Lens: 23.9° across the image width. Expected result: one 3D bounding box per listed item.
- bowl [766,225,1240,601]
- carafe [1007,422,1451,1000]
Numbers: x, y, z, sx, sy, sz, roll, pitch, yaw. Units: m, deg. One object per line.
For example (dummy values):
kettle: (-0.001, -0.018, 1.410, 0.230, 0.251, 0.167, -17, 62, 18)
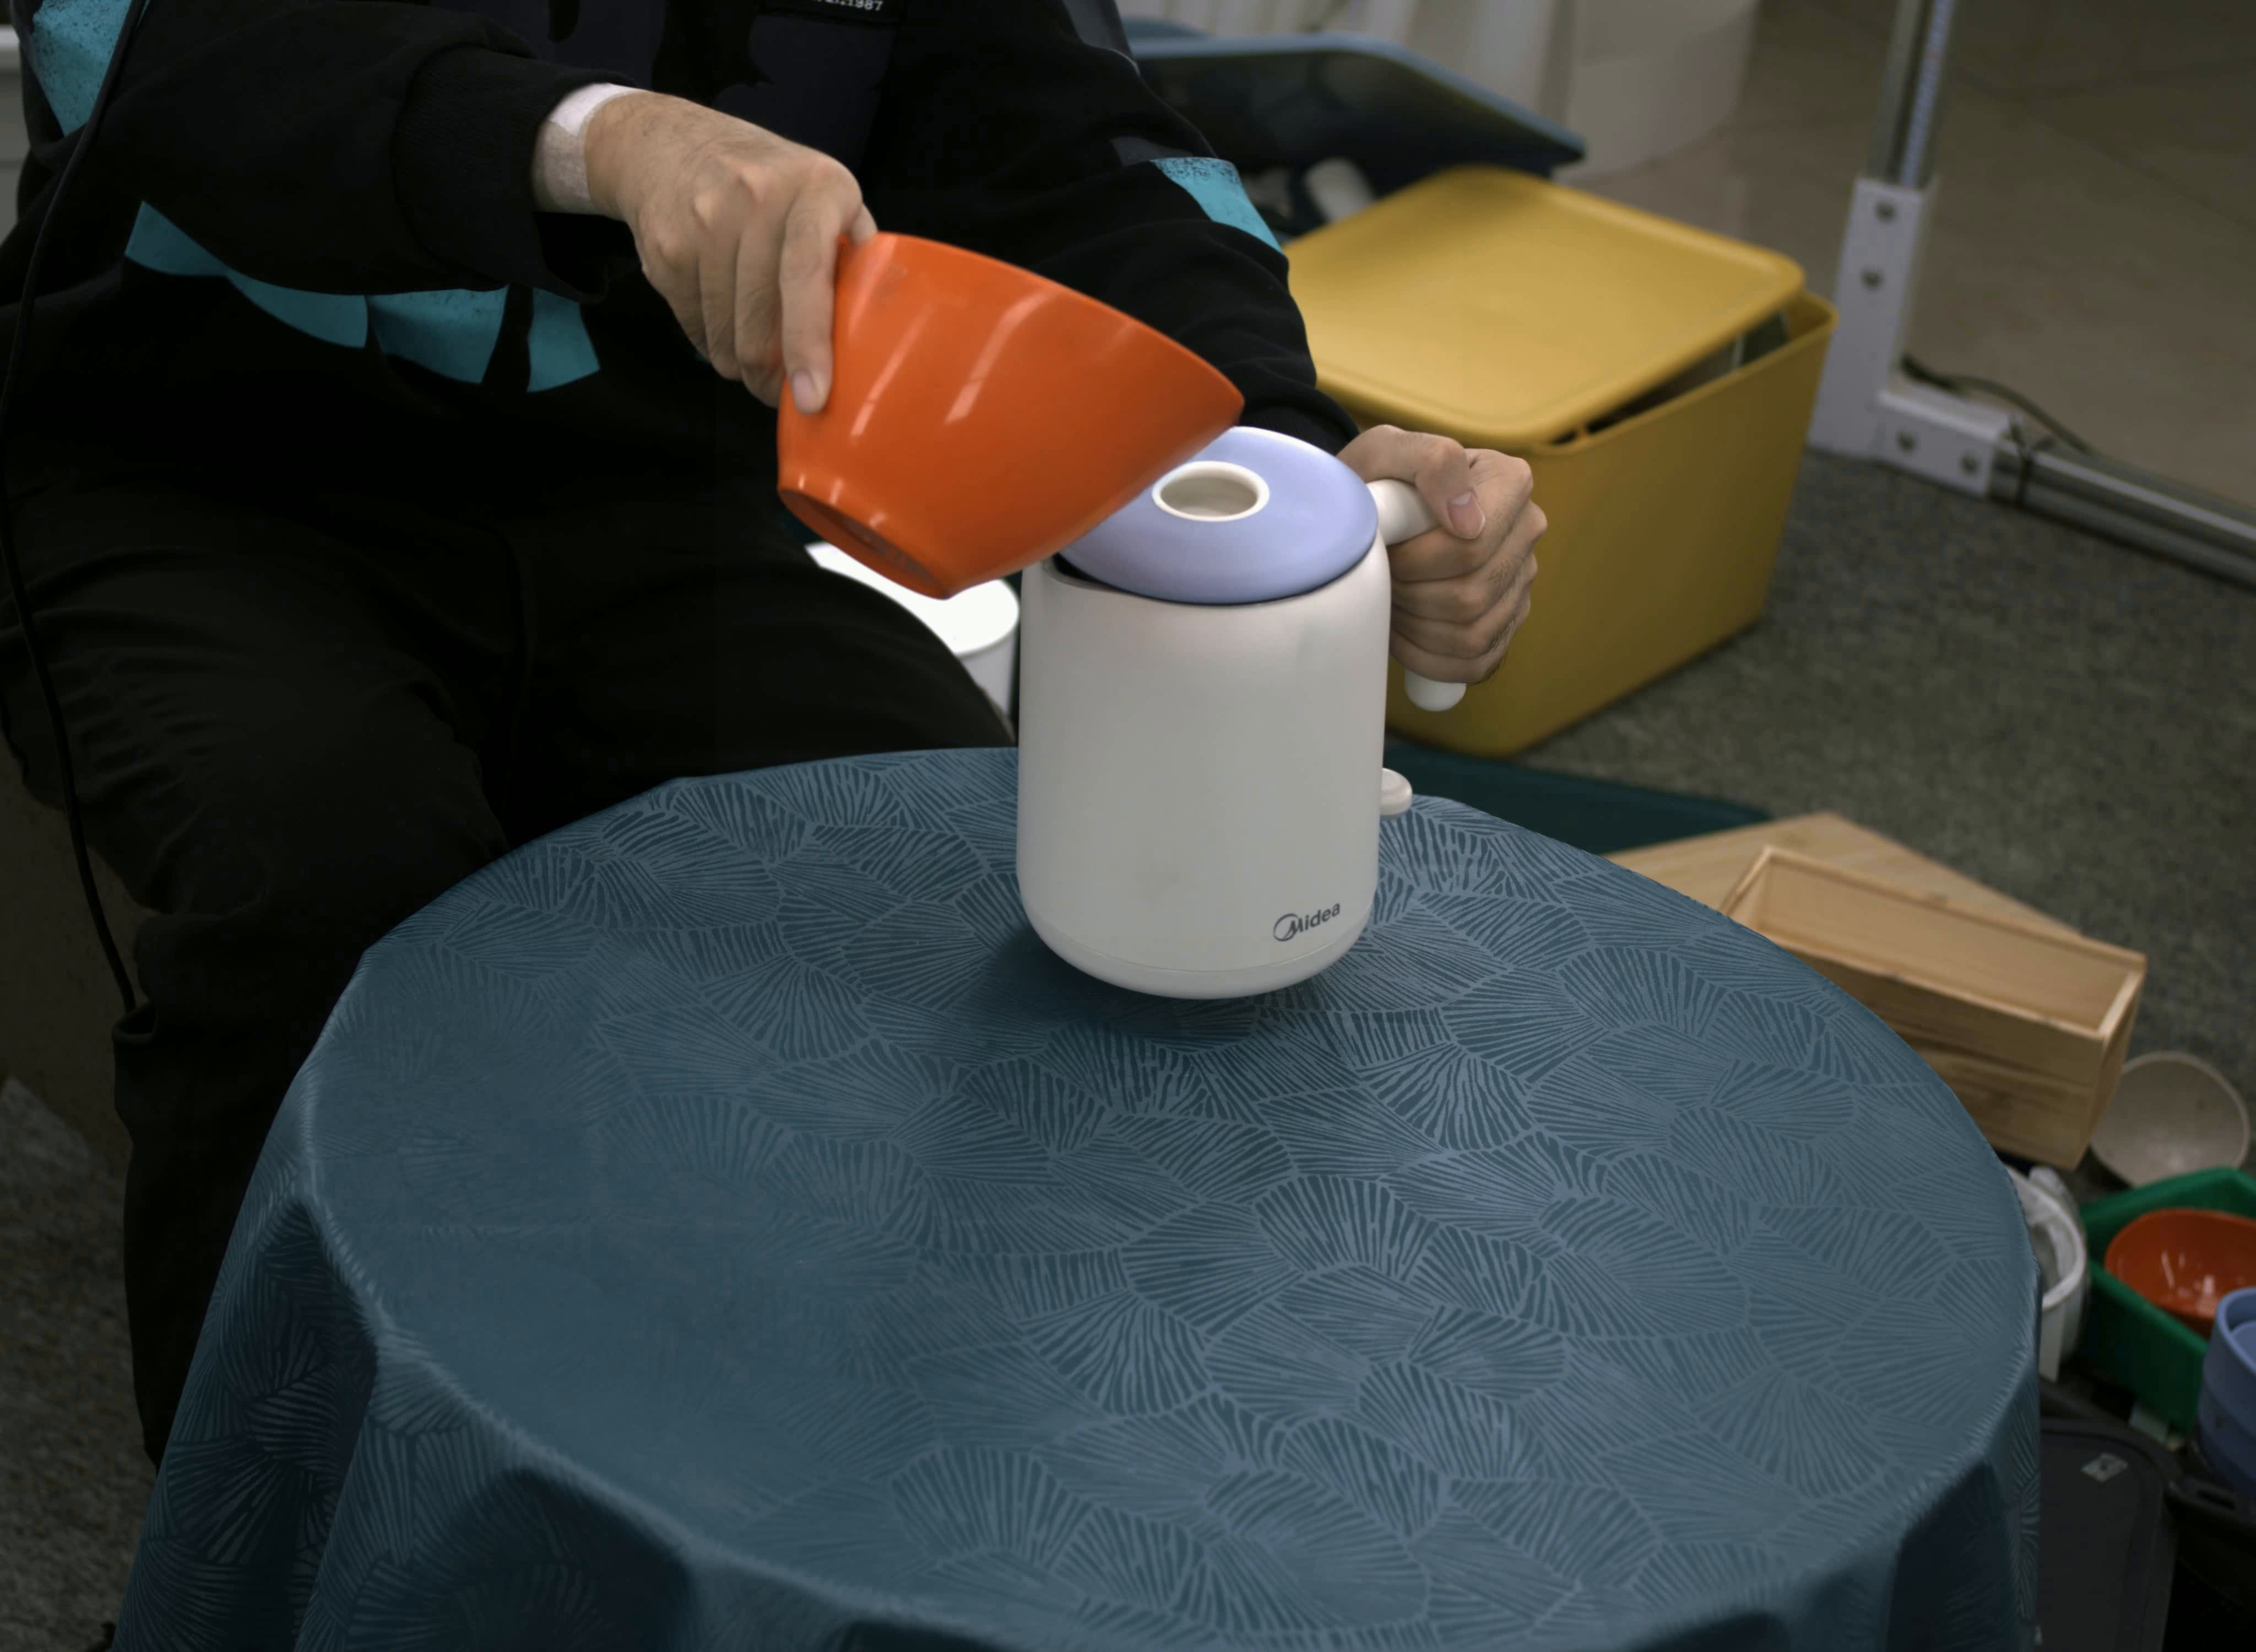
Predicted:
bowl: (-0.053, -0.128, 1.739, 0.148, 0.105, 0.147, 31, -9, 5)
carafe: (0.044, -0.049, 1.907, 0.190, 0.182, 0.133, -20, 39, -33)
